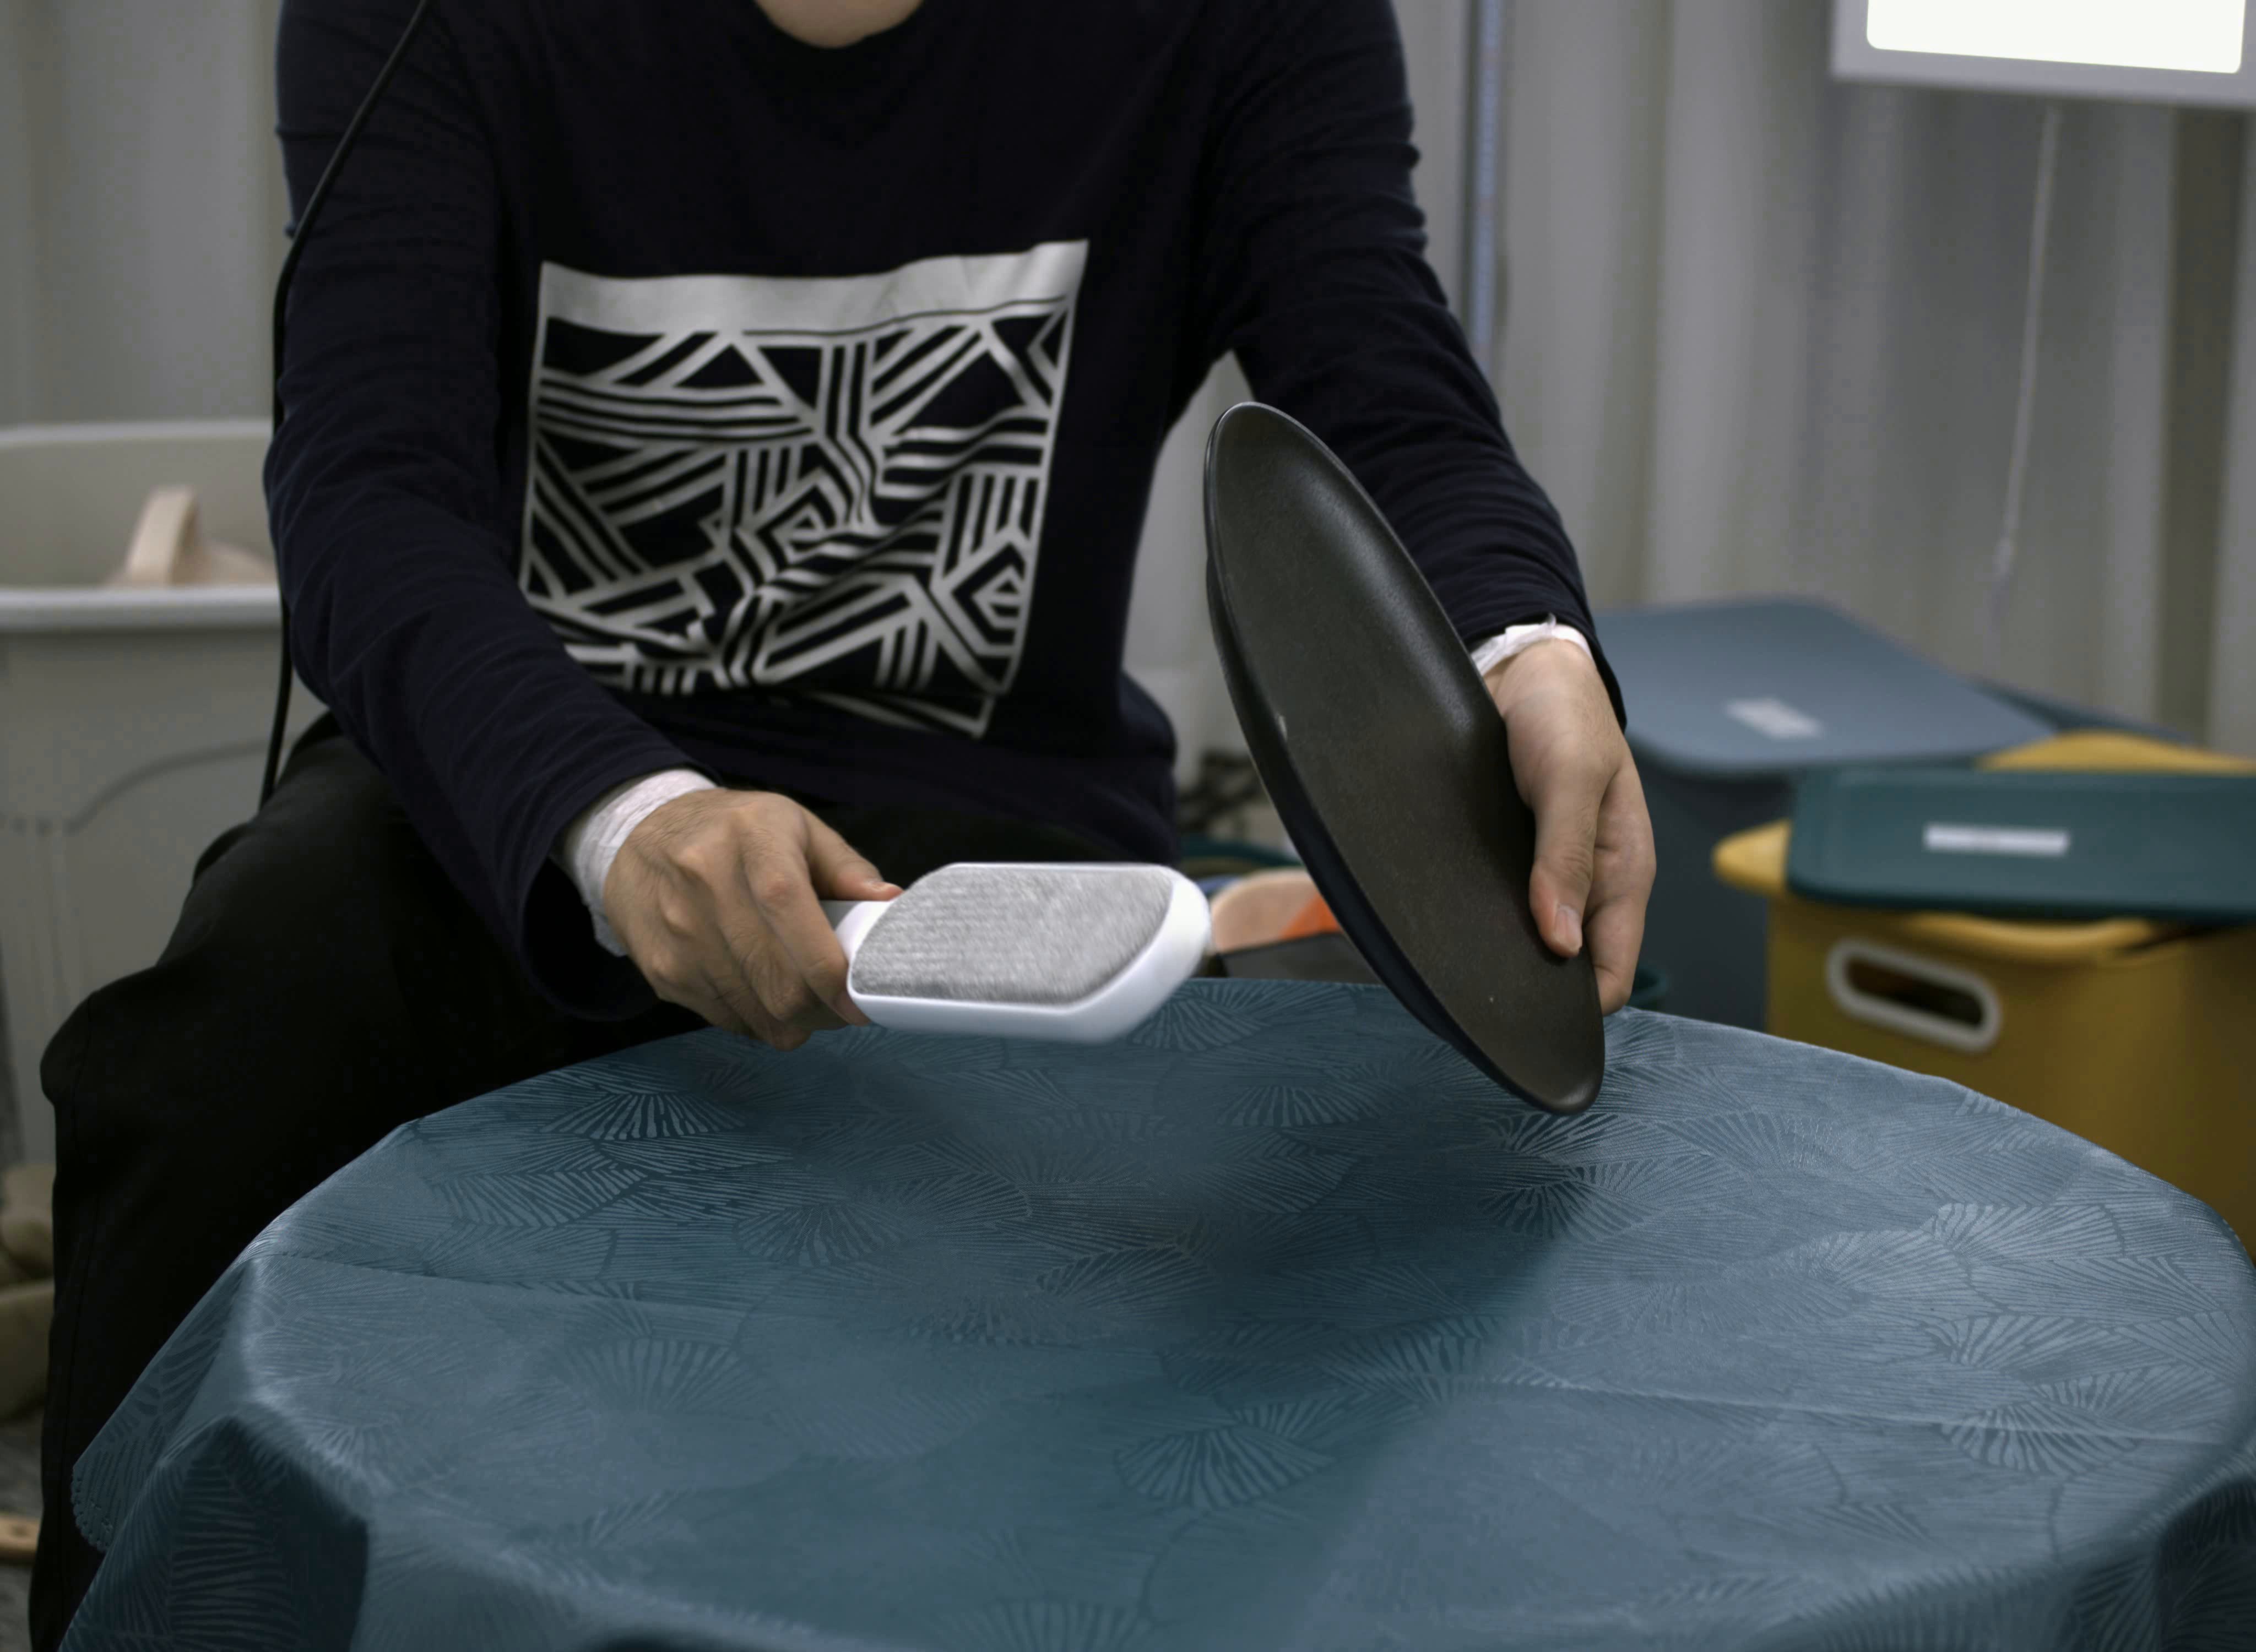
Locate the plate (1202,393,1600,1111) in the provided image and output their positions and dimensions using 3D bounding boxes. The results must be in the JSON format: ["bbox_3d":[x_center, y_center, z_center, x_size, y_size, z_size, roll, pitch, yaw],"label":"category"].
[{"bbox_3d":[0.078,-0.020,1.625,0.023,0.246,0.244,-26,9,18],"label":"plate"}]

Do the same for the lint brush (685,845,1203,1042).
[{"bbox_3d":[-0.063,0.032,1.600,0.021,0.060,0.306,39,-18,-24],"label":"lint brush"}]
